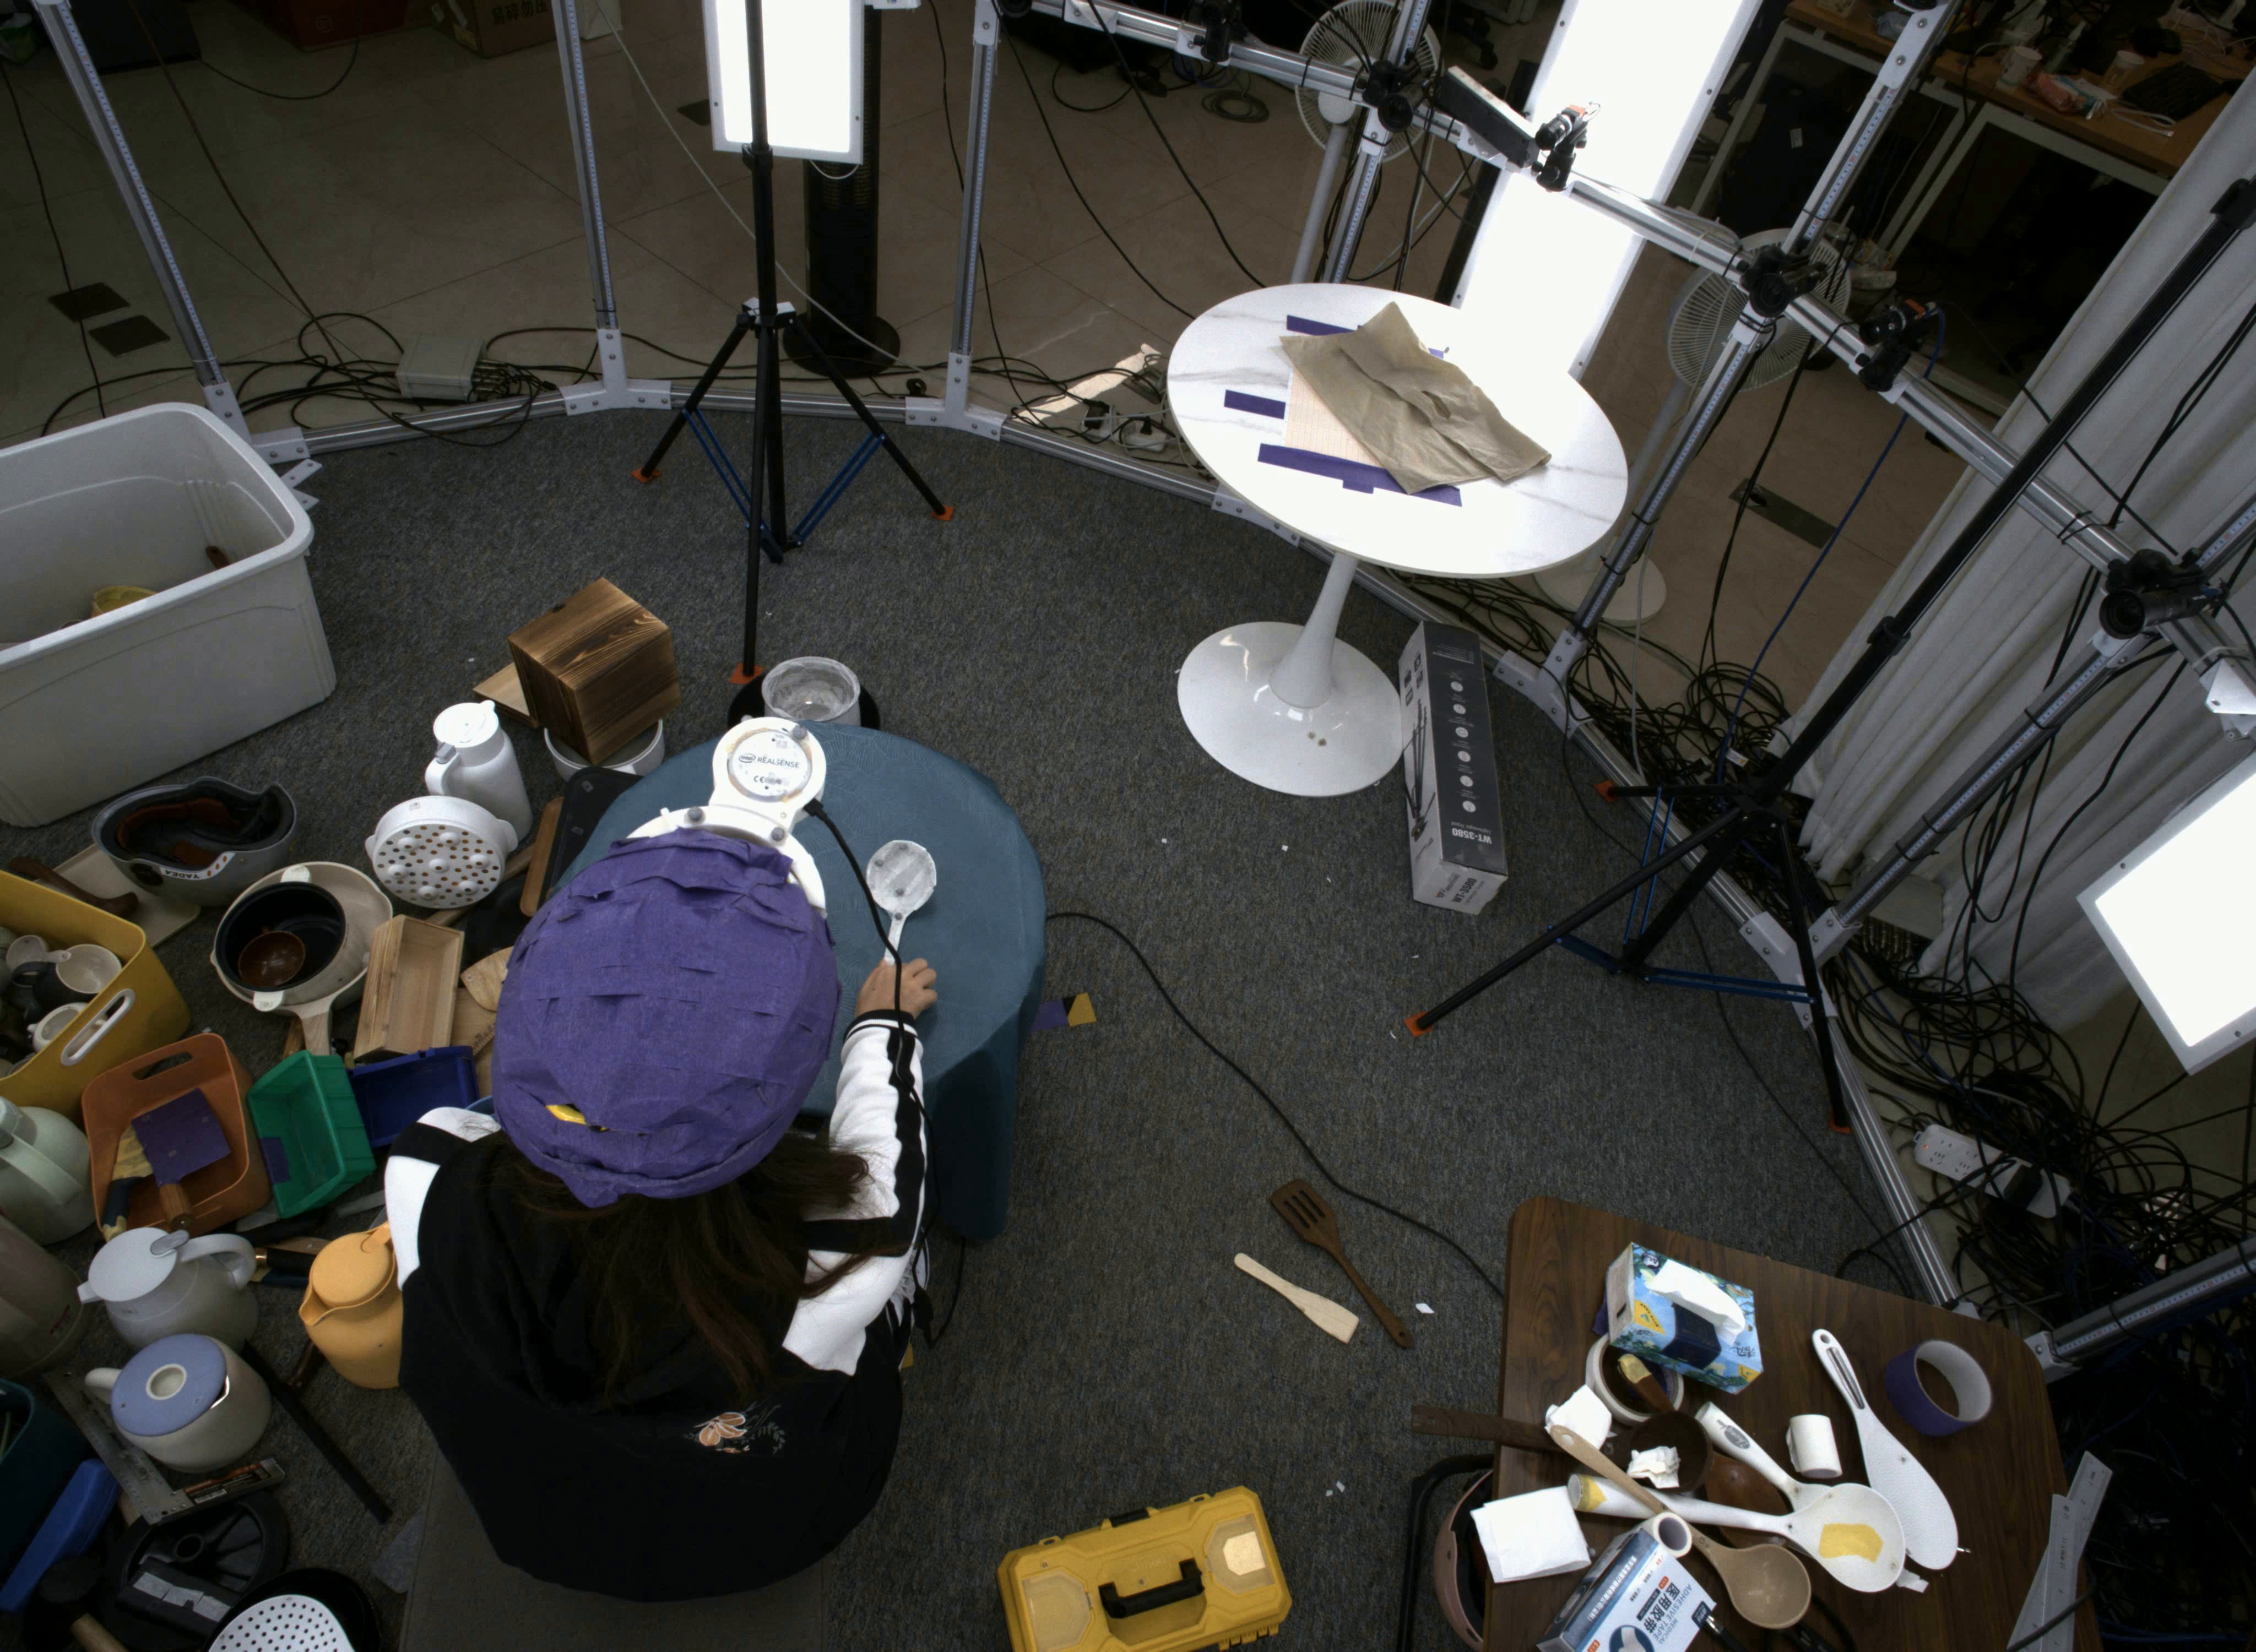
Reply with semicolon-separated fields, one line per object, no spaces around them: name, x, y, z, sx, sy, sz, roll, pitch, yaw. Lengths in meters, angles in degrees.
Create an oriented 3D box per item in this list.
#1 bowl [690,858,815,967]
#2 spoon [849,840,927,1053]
bowl;-0.460;0.114;1.590;0.151;0.060;0.149;8;52;-8
spoon;-0.318;0.142;1.606;0.098;0.061;0.273;0;52;12
